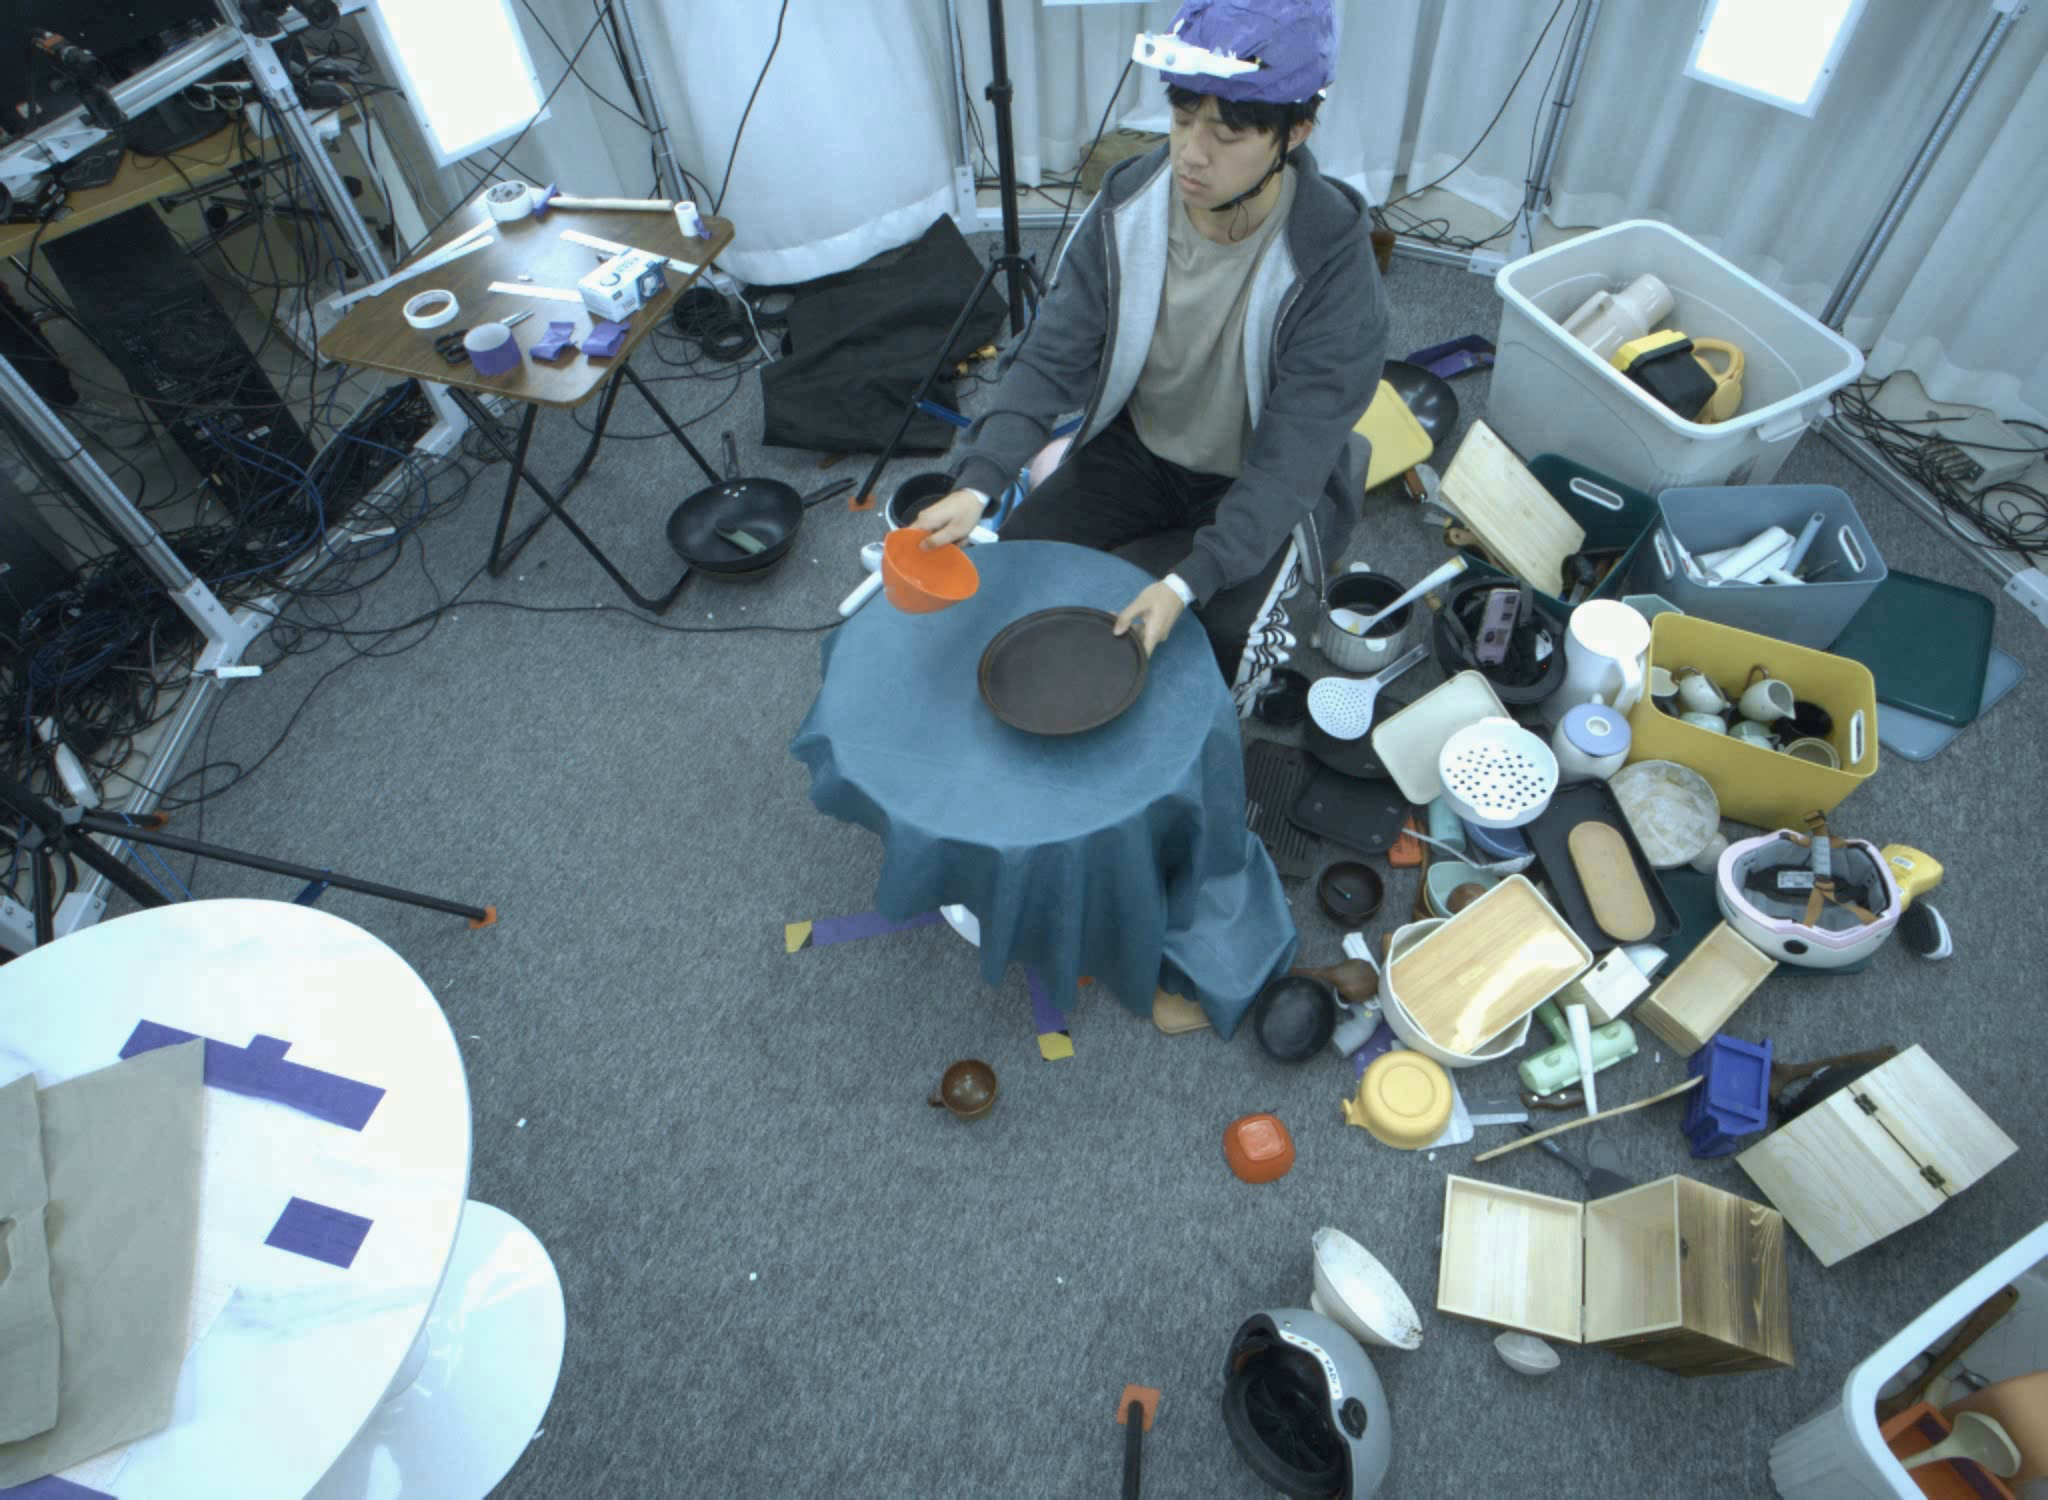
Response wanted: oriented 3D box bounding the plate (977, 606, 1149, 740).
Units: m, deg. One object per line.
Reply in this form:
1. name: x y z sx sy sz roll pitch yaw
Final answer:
1. plate: 0.057 -0.114 1.807 0.254 0.029 0.252 -4 52 6

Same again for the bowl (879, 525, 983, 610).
1. bowl: -0.140 -0.249 1.761 0.149 0.105 0.146 7 58 -10
